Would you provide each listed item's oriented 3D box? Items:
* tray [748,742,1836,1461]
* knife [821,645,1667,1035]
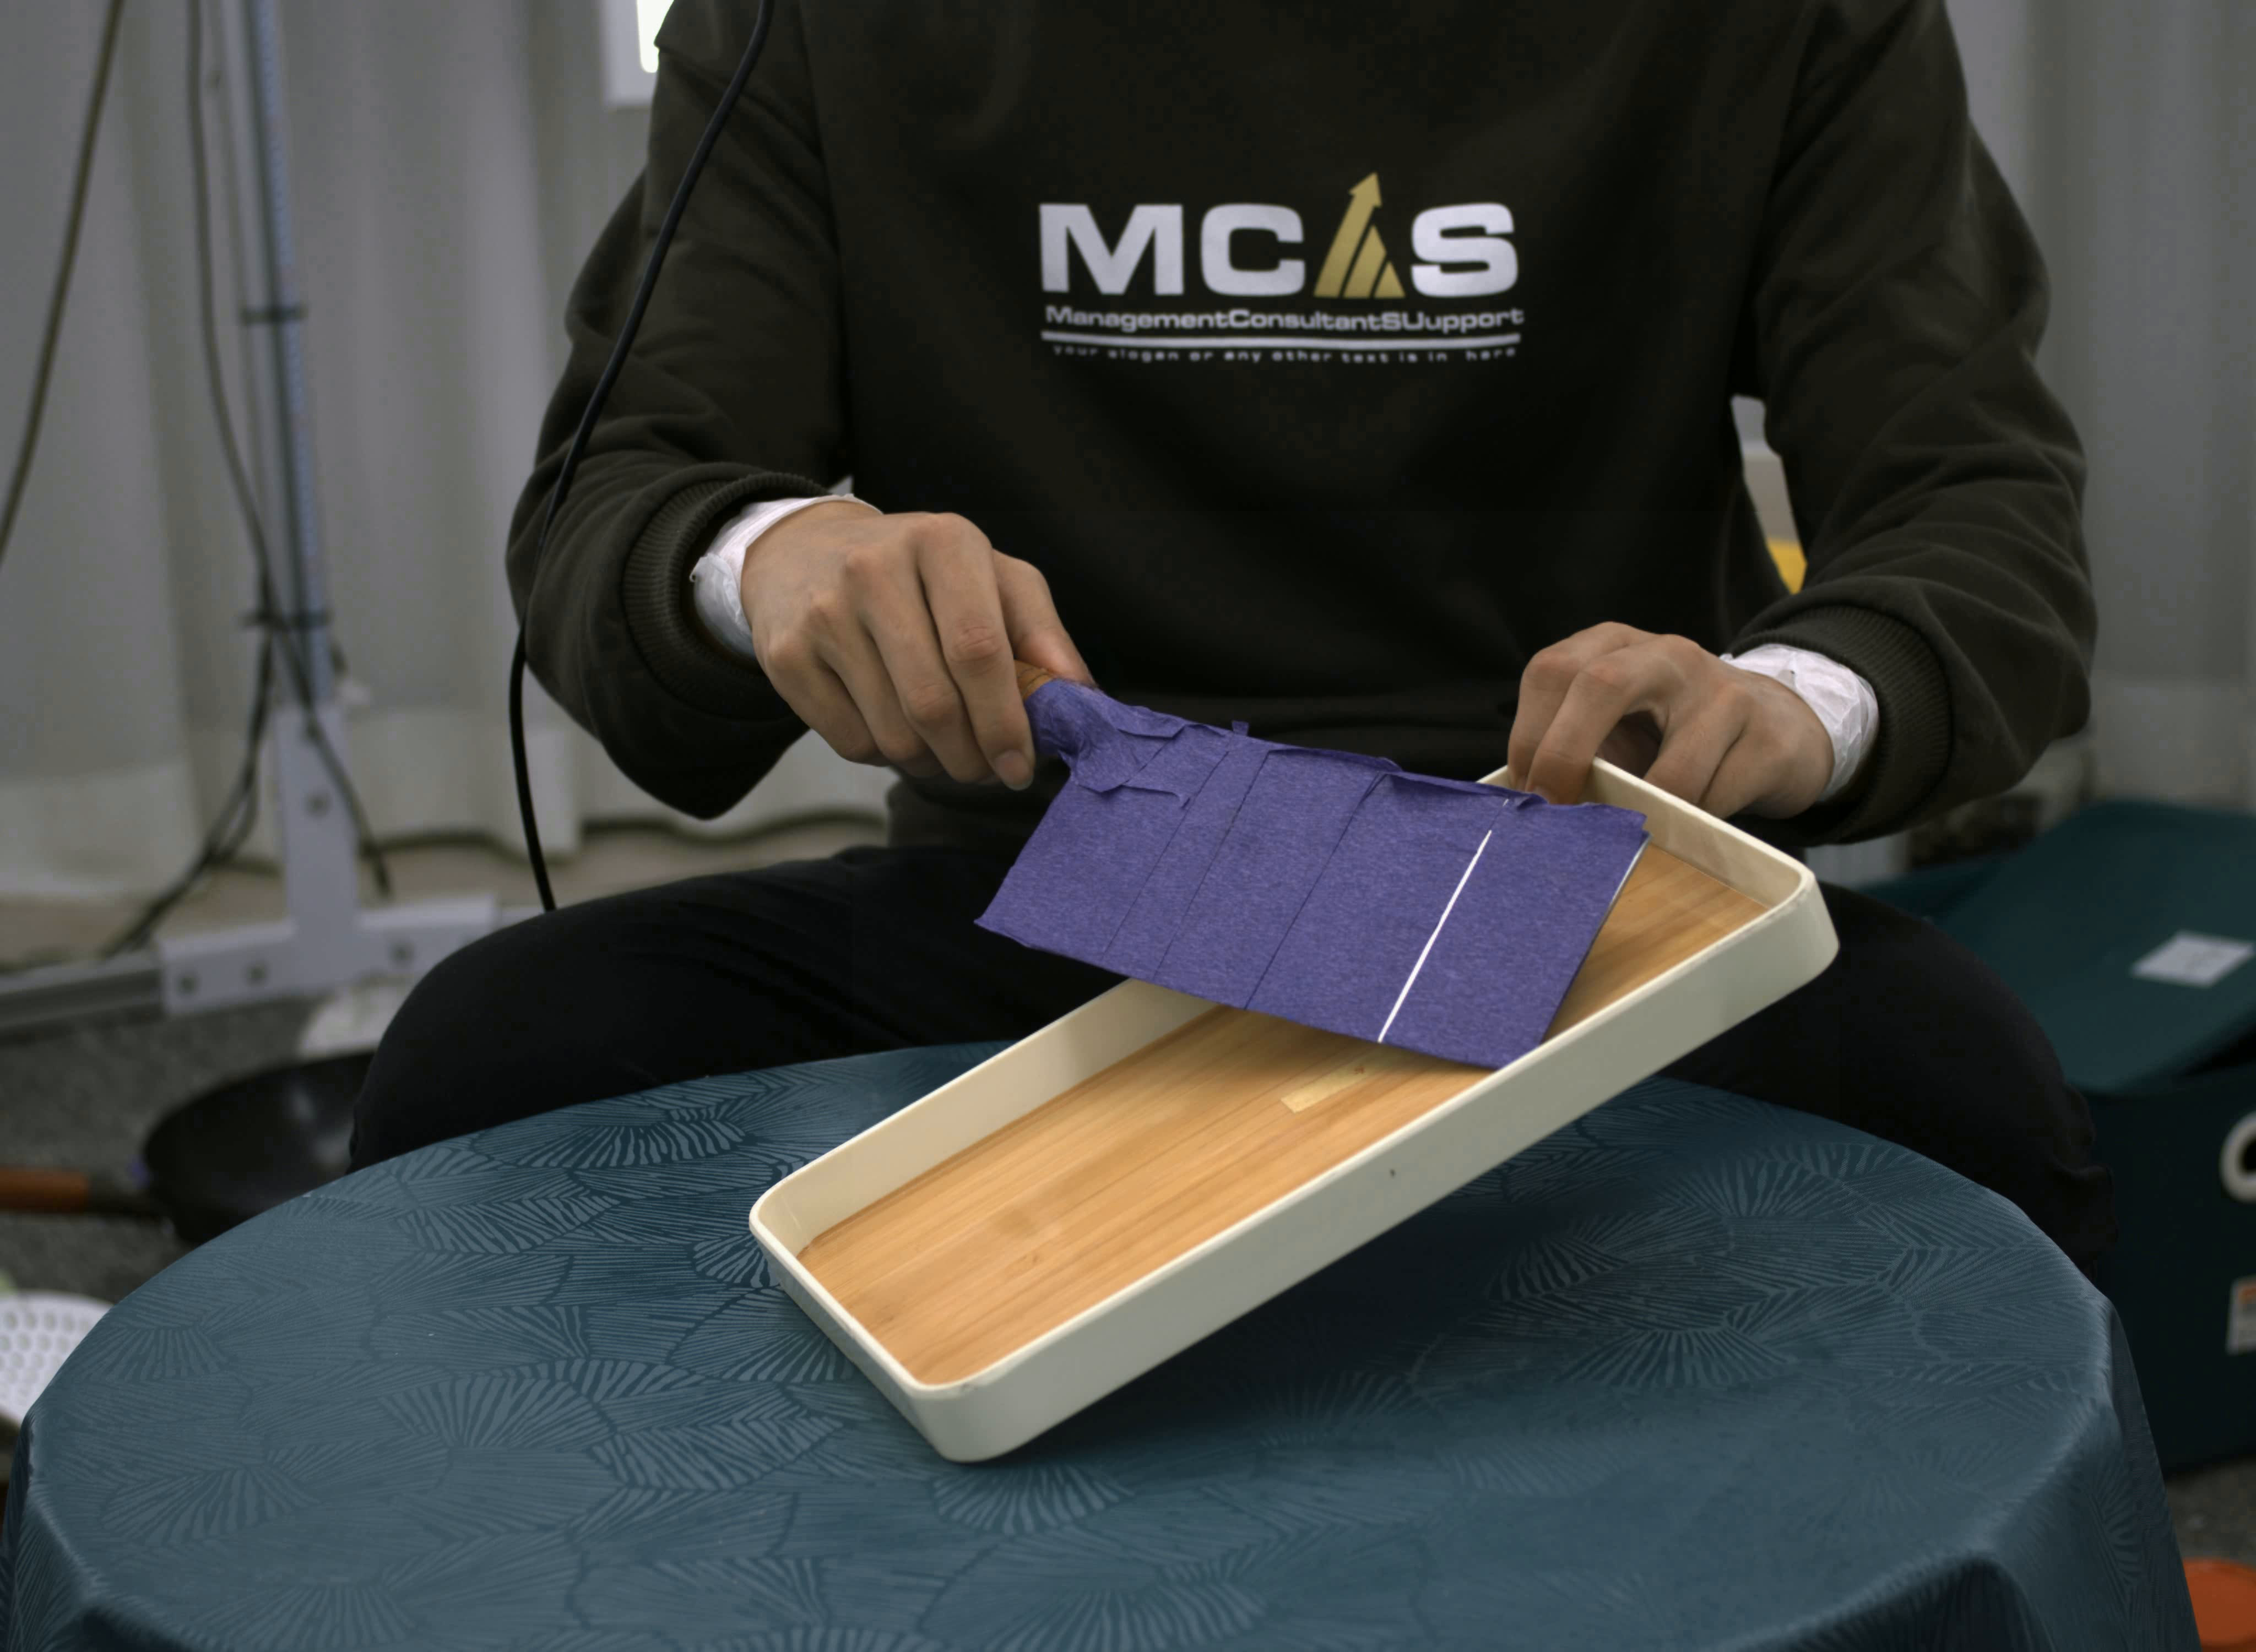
[{"bbox_3d":[0.045,0.075,1.600,0.300,0.027,0.193,-30,21,-12],"label":"tray"},{"bbox_3d":[0.014,0.002,1.670,0.317,0.032,0.105,11,59,39],"label":"knife"}]
